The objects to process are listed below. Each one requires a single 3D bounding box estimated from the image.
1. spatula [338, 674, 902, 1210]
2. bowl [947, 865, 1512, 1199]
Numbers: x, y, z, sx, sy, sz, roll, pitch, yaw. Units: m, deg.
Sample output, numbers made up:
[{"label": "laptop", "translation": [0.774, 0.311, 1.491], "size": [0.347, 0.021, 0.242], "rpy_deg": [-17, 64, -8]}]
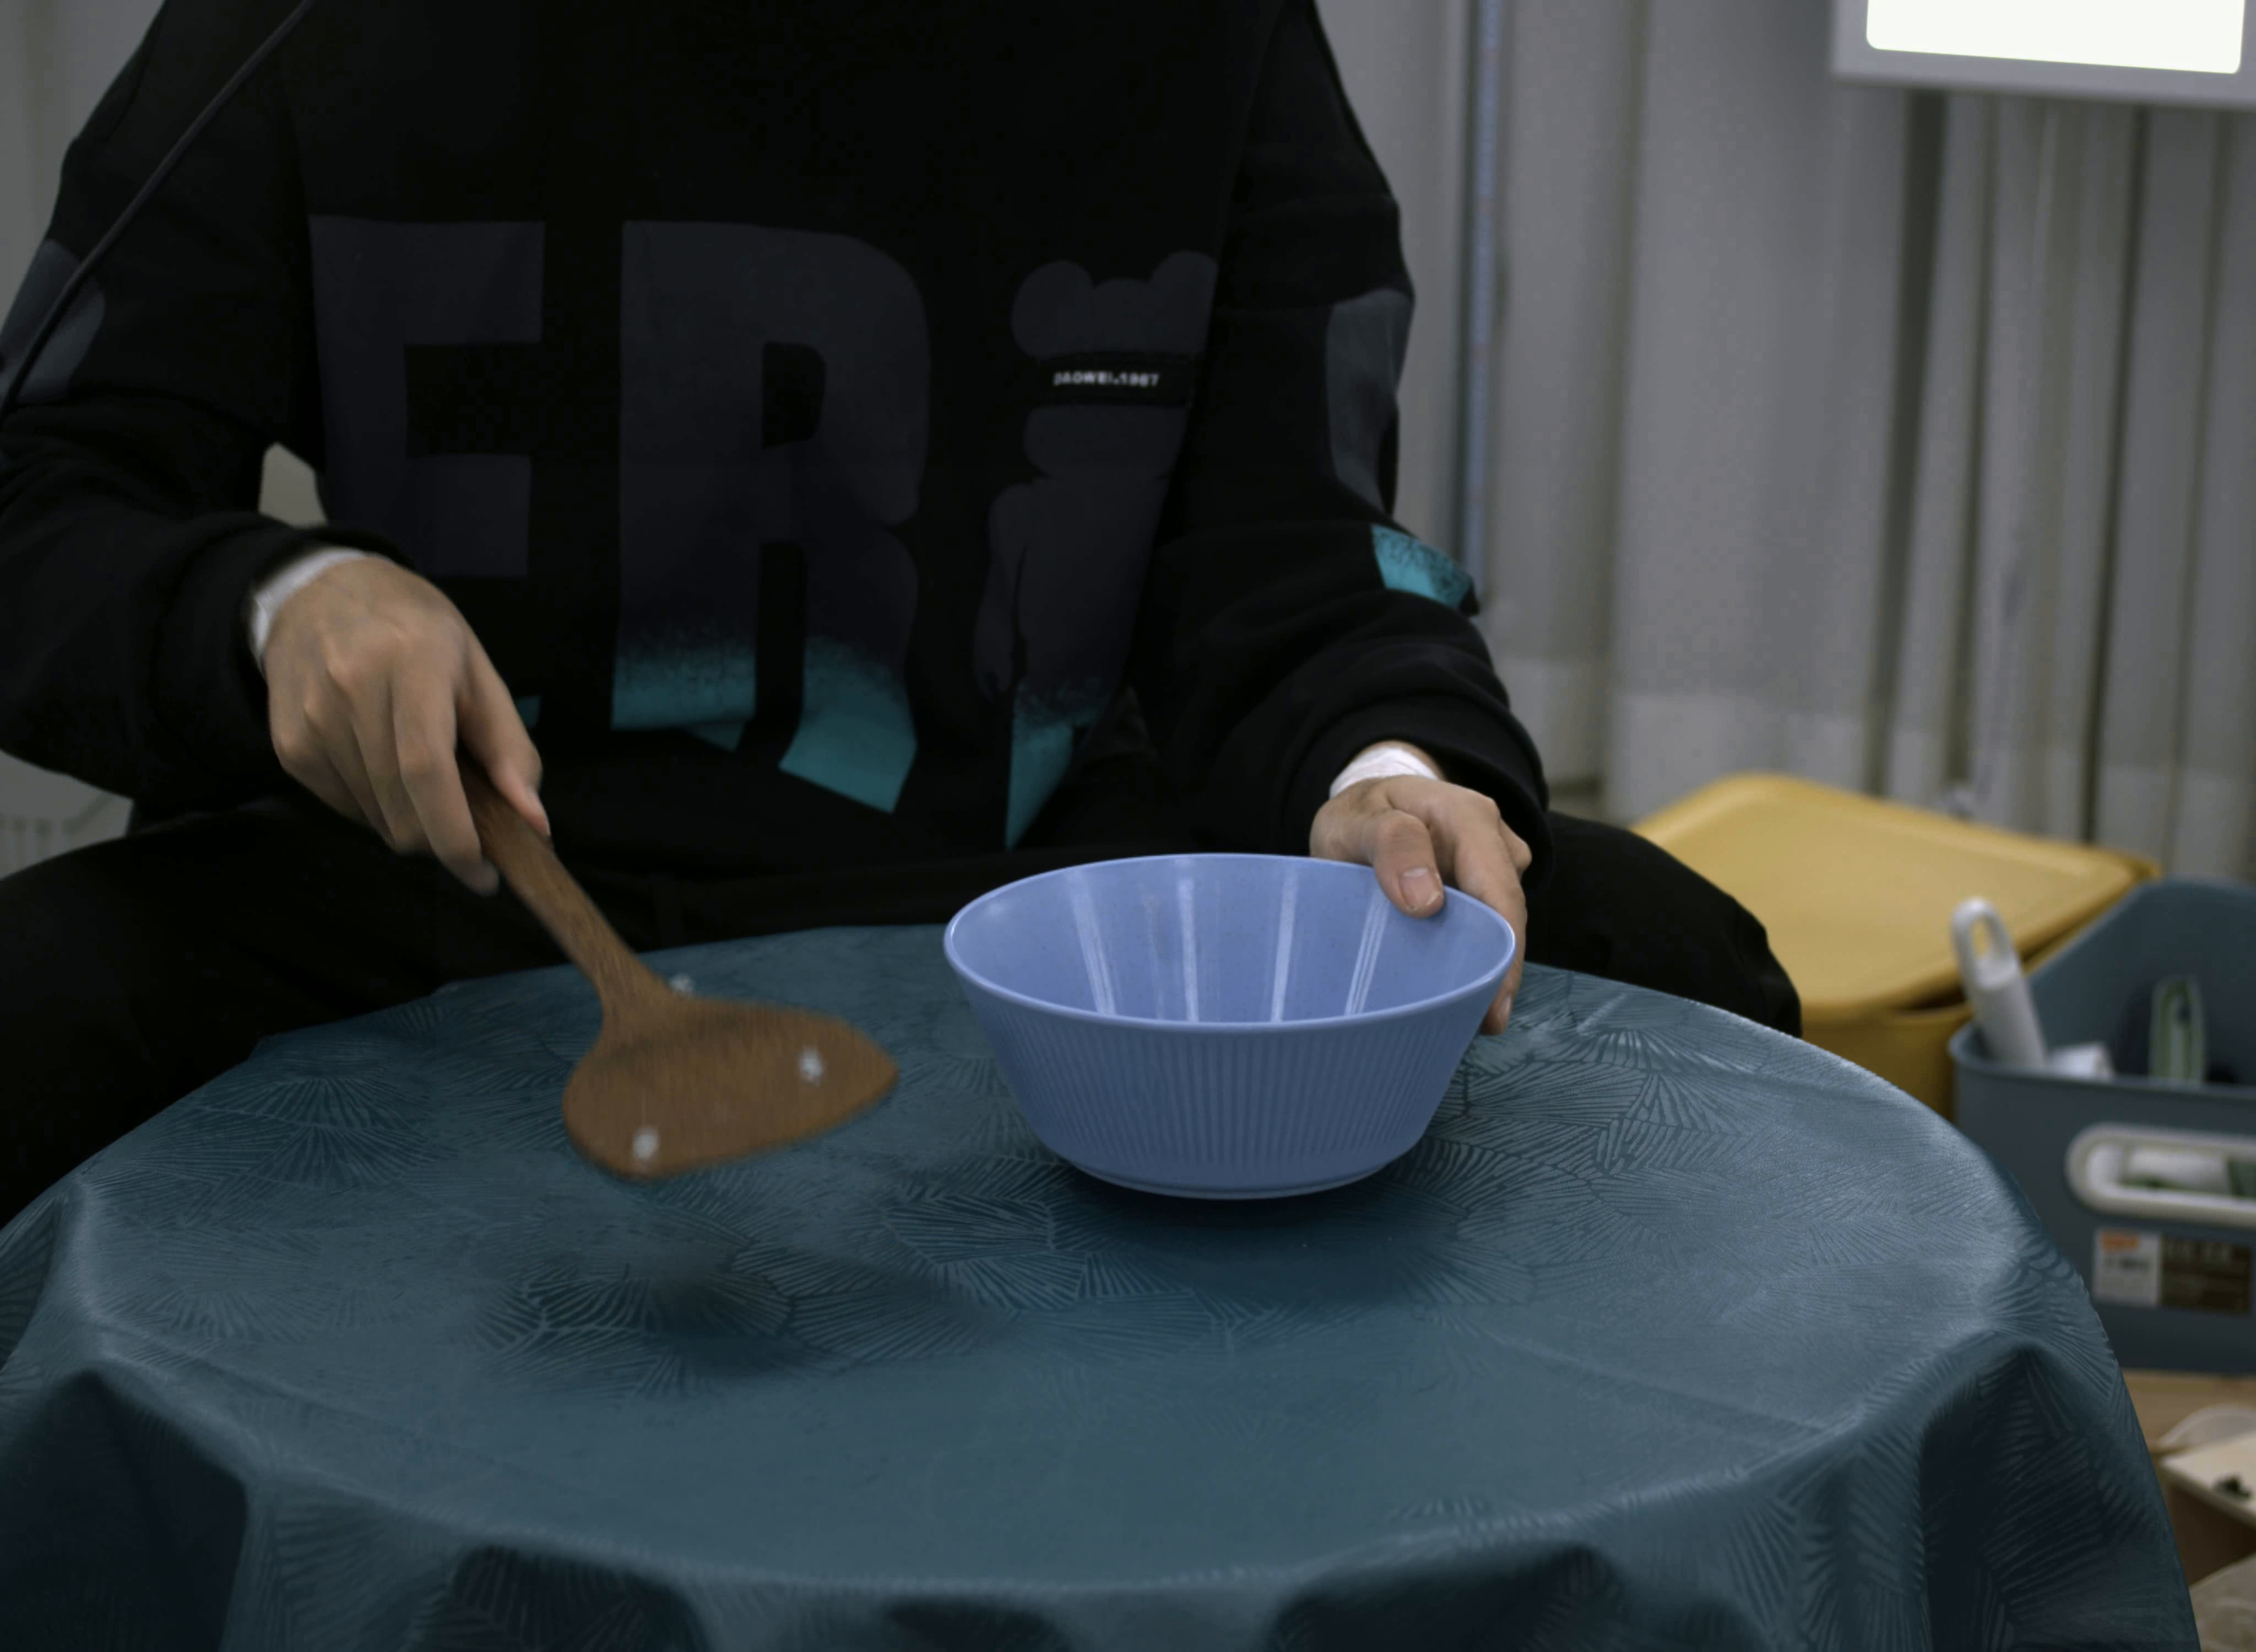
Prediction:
[{"label": "spatula", "translation": [-0.180, 0.026, 1.644], "size": [0.096, 0.016, 0.381], "rpy_deg": [-16, 31, -20]}, {"label": "bowl", "translation": [0.031, 0.066, 1.629], "size": [0.175, 0.071, 0.175], "rpy_deg": [1, 15, 0]}]
